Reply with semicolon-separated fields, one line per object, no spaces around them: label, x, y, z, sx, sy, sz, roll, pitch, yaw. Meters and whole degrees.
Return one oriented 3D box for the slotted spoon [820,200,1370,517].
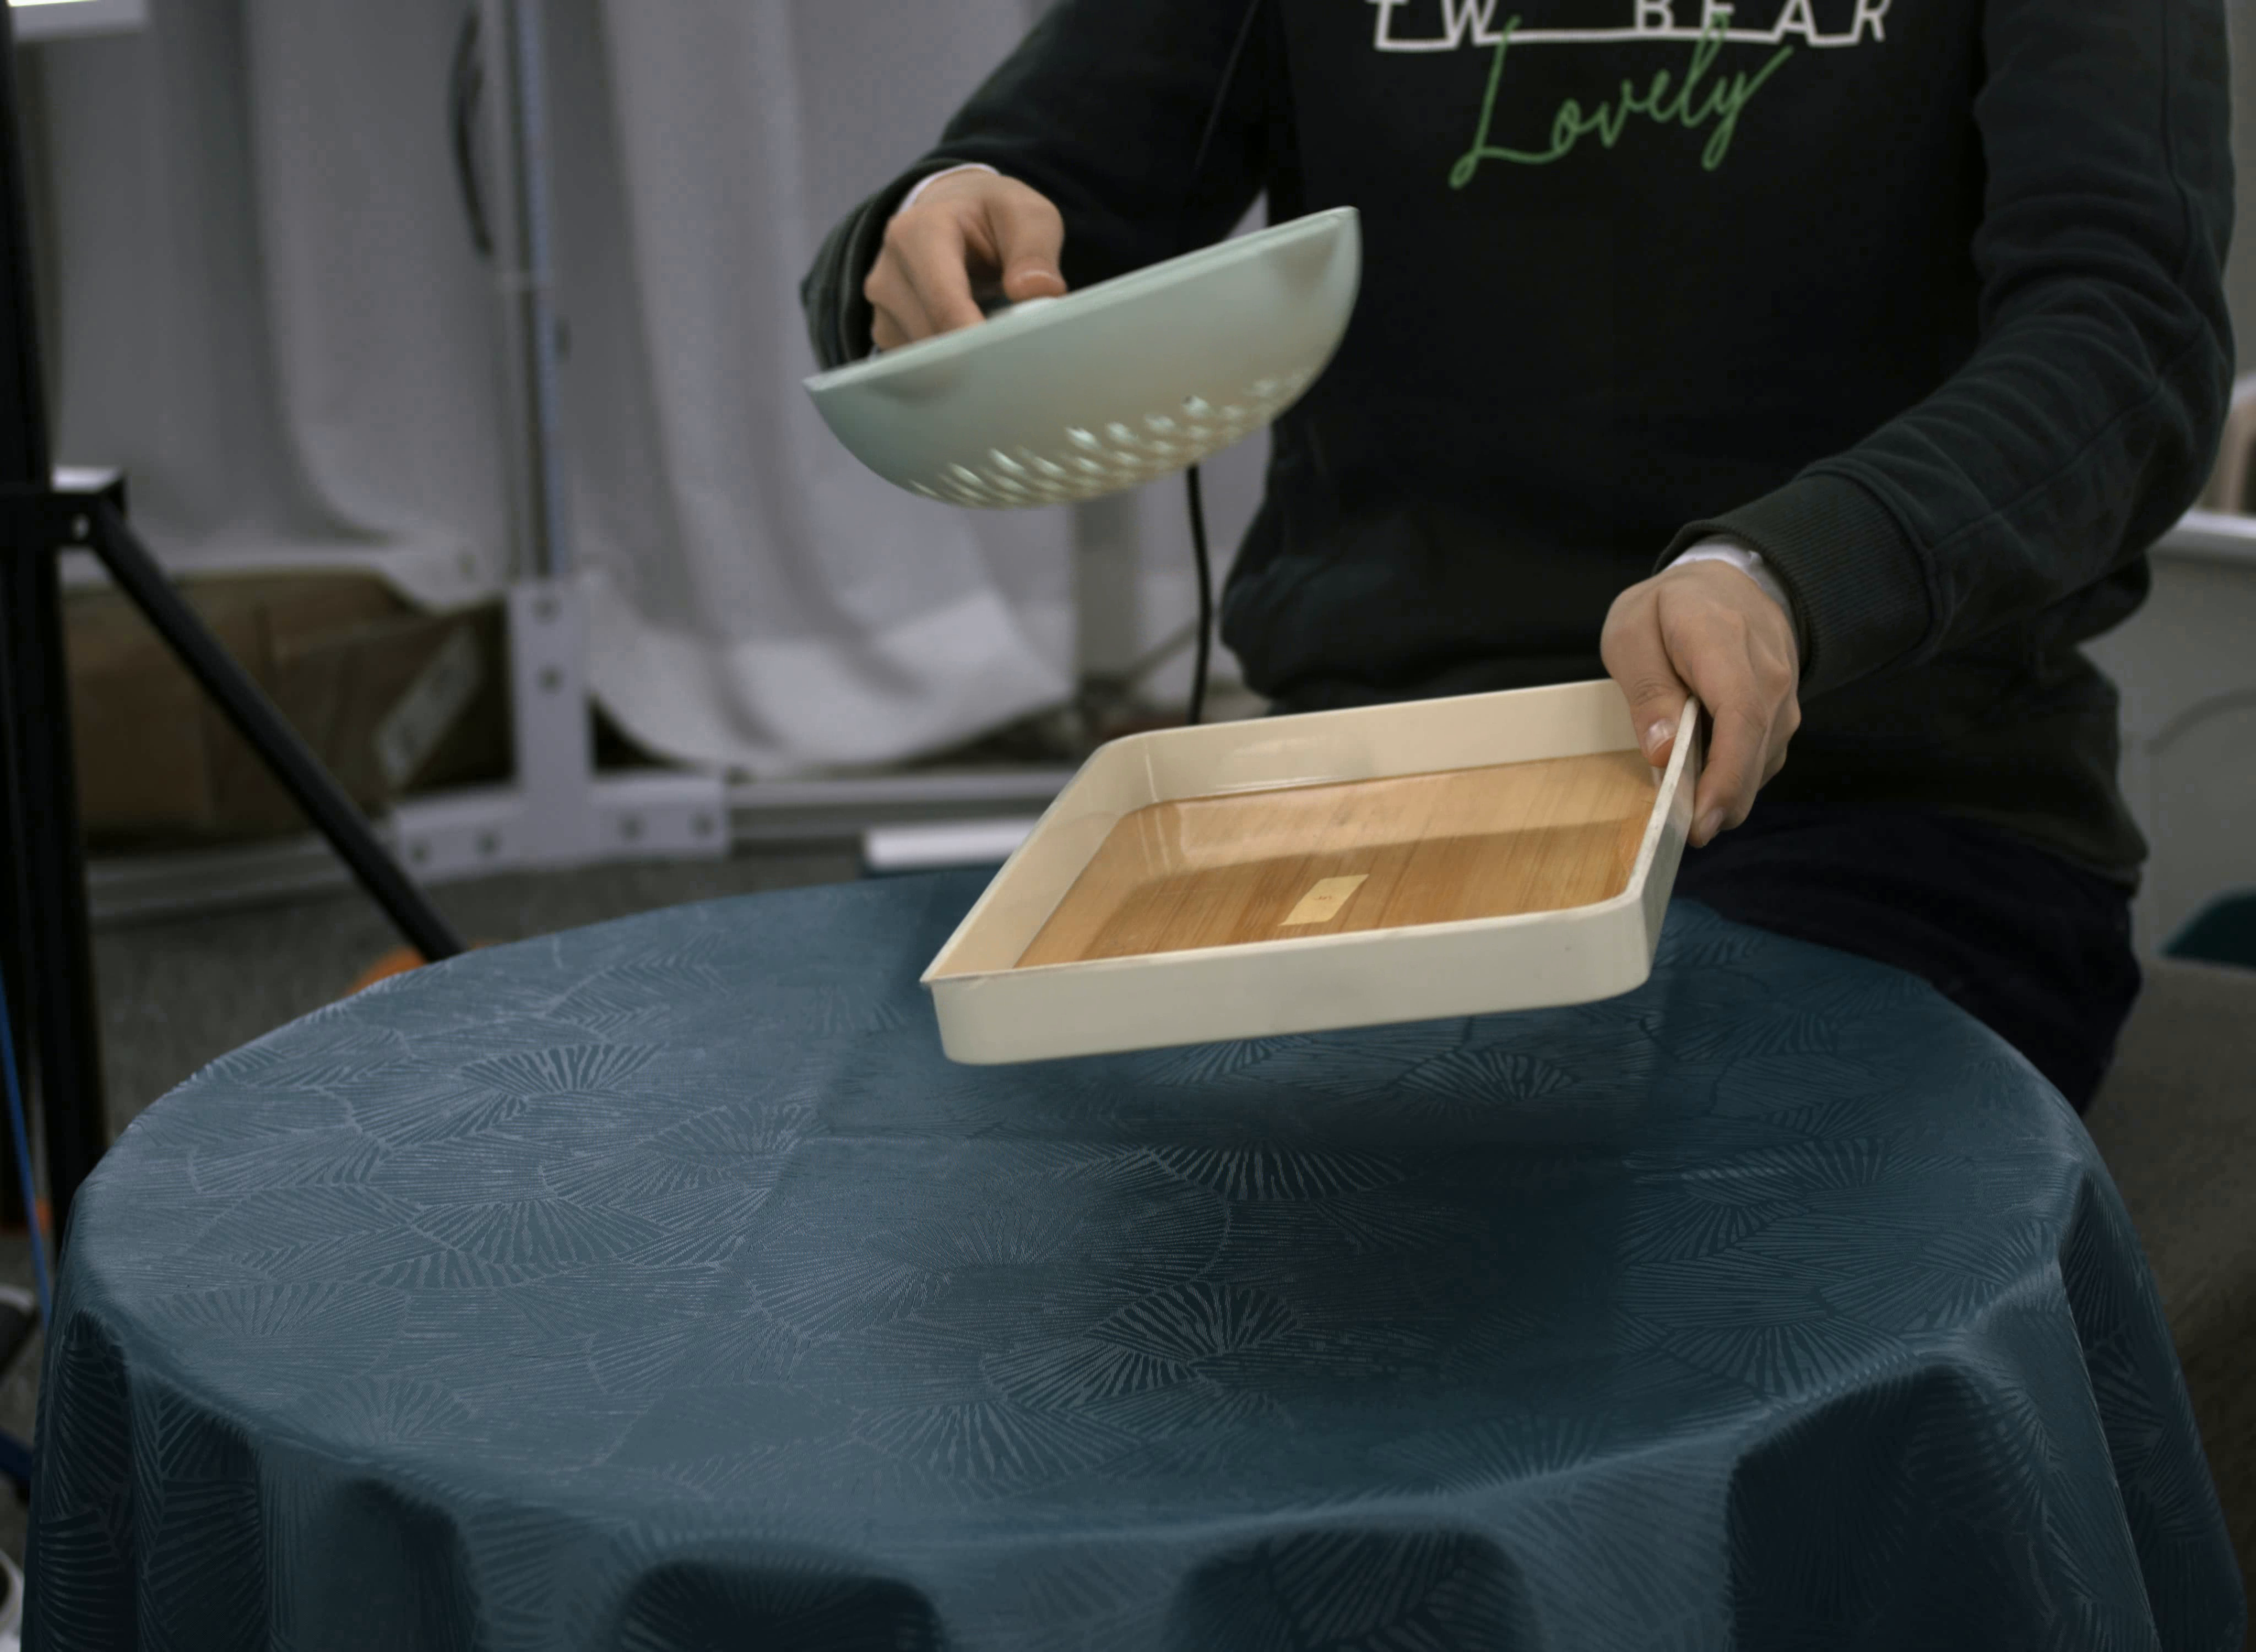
slotted spoon;-0.020;-0.146;1.648;0.168;0.075;0.362;-19;14;-6

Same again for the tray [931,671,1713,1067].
tray;0.063;0.009;1.501;0.192;0.027;0.299;-7;12;12
